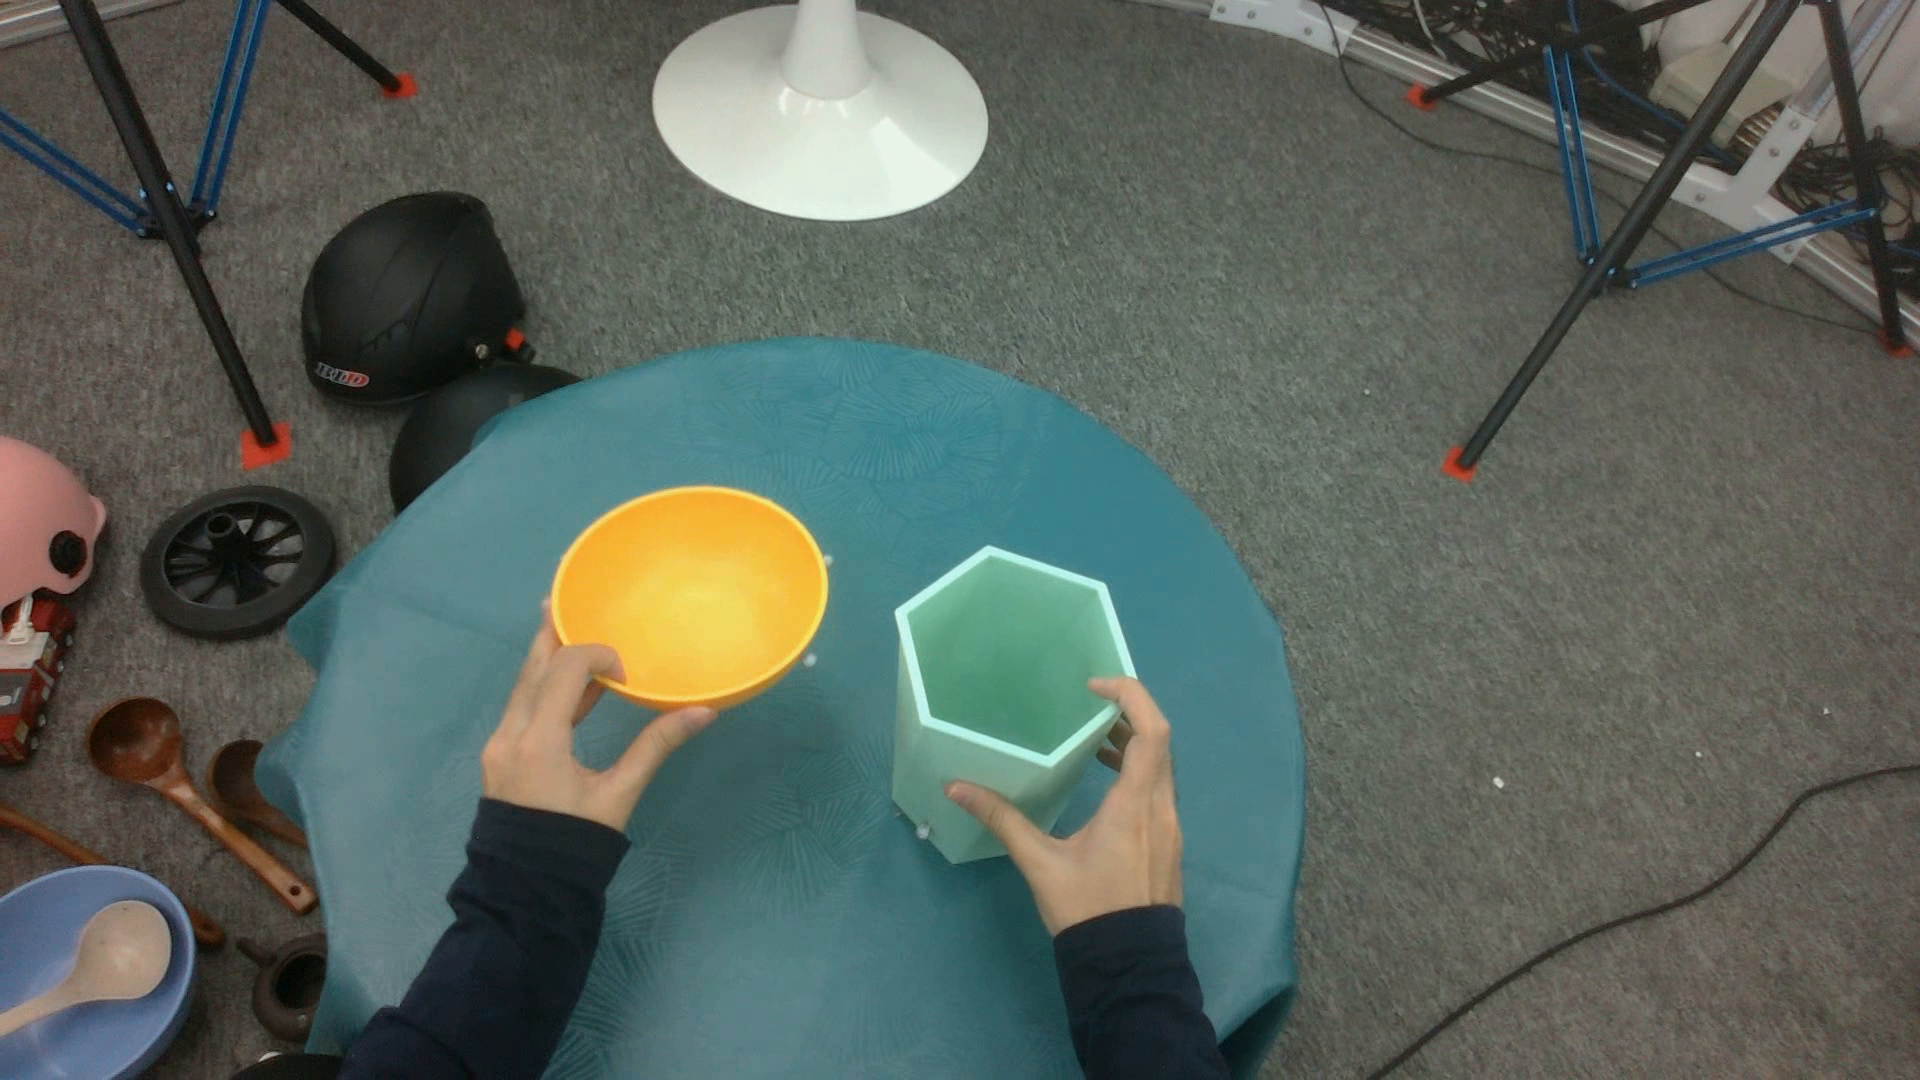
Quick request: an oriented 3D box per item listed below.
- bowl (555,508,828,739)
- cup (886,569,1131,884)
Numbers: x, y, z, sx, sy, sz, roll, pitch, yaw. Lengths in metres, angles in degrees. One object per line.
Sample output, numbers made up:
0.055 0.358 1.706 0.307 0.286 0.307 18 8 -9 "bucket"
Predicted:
-0.145 0.056 0.764 0.145 0.060 0.146 2 53 -2 "bowl"
0.018 0.113 0.769 0.131 0.162 0.116 14 54 5 "cup"
